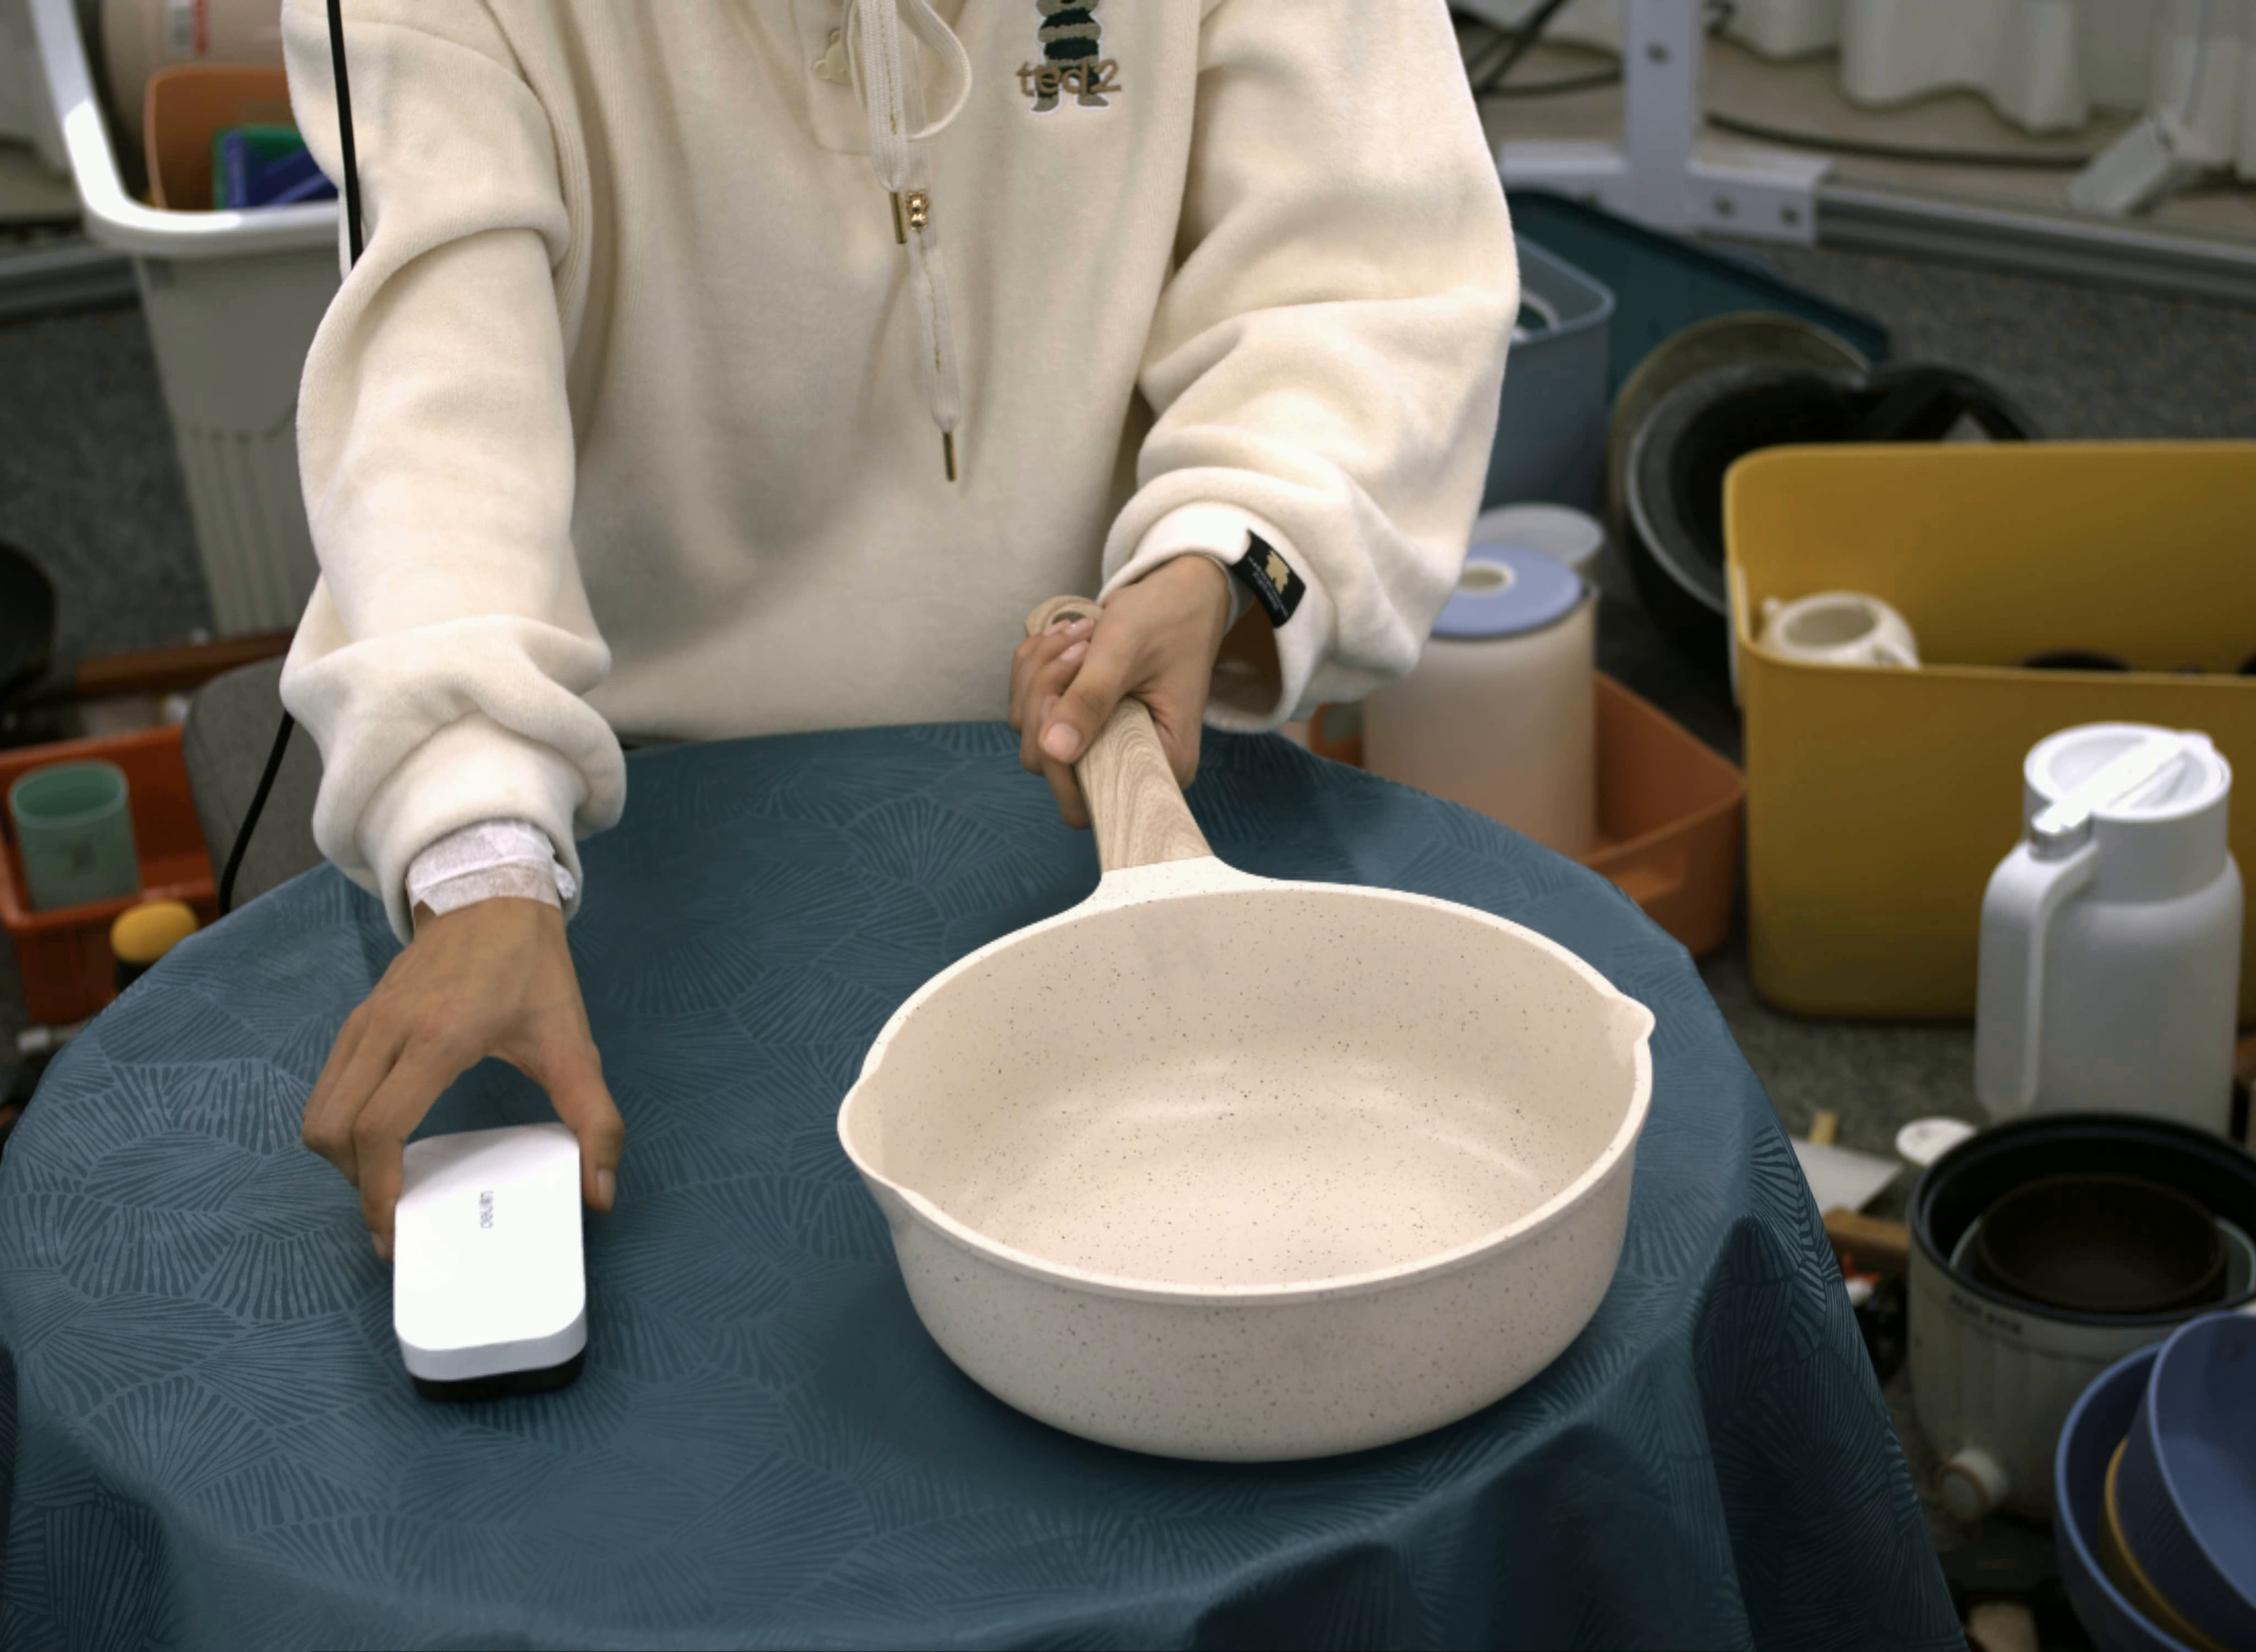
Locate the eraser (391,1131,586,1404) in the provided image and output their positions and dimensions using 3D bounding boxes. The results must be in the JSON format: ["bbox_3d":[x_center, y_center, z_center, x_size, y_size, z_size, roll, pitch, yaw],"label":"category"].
[{"bbox_3d":[-0.205,0.139,1.814,0.063,0.034,0.133,-4,28,-4],"label":"eraser"}]

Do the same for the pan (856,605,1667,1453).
[{"bbox_3d":[0.026,0.062,1.863,0.263,0.101,0.440,-9,28,-9],"label":"pan"}]
